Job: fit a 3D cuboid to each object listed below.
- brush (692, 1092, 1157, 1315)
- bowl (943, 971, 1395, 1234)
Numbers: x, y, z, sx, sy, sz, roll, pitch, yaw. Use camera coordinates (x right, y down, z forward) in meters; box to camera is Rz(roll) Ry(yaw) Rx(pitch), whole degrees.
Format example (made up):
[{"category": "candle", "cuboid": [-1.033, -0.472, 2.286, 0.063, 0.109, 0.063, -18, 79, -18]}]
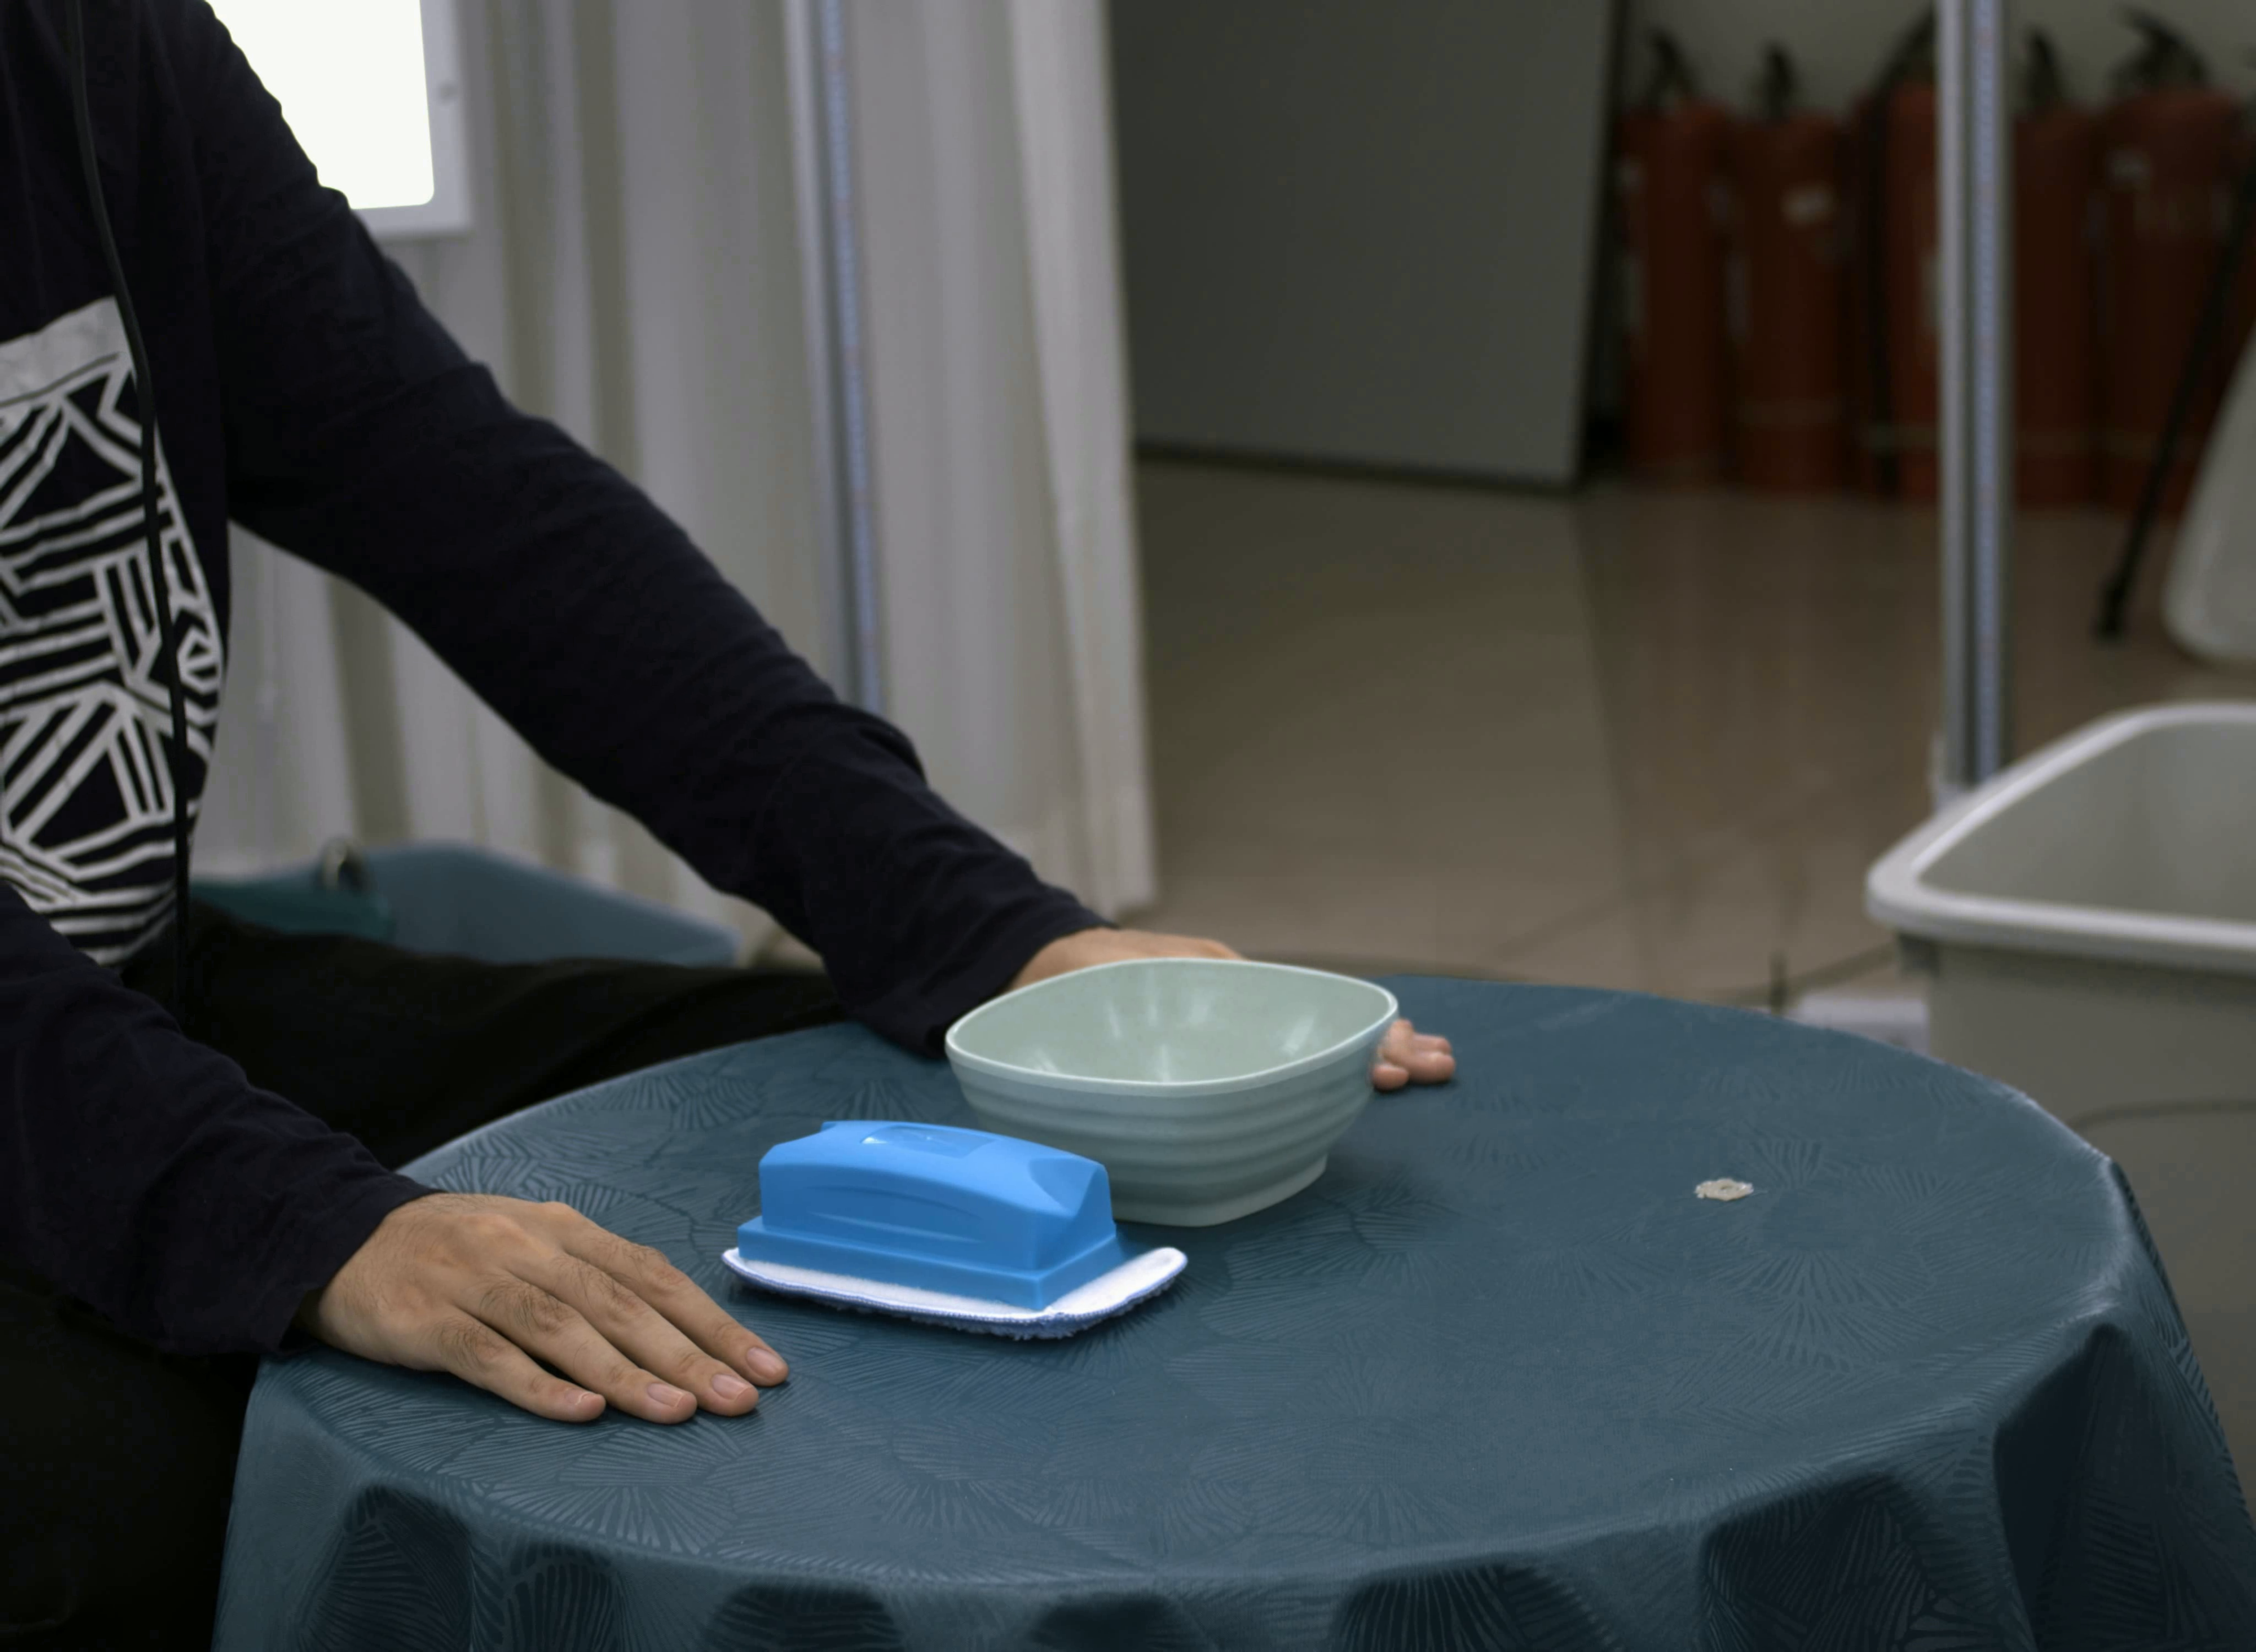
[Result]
[{"category": "brush", "cuboid": [-0.063, 0.116, 1.686, 0.145, 0.056, 0.082, 9, 15, 37]}, {"category": "bowl", "cuboid": [0.015, 0.093, 1.772, 0.149, 0.059, 0.151, -3, 12, 0]}]
